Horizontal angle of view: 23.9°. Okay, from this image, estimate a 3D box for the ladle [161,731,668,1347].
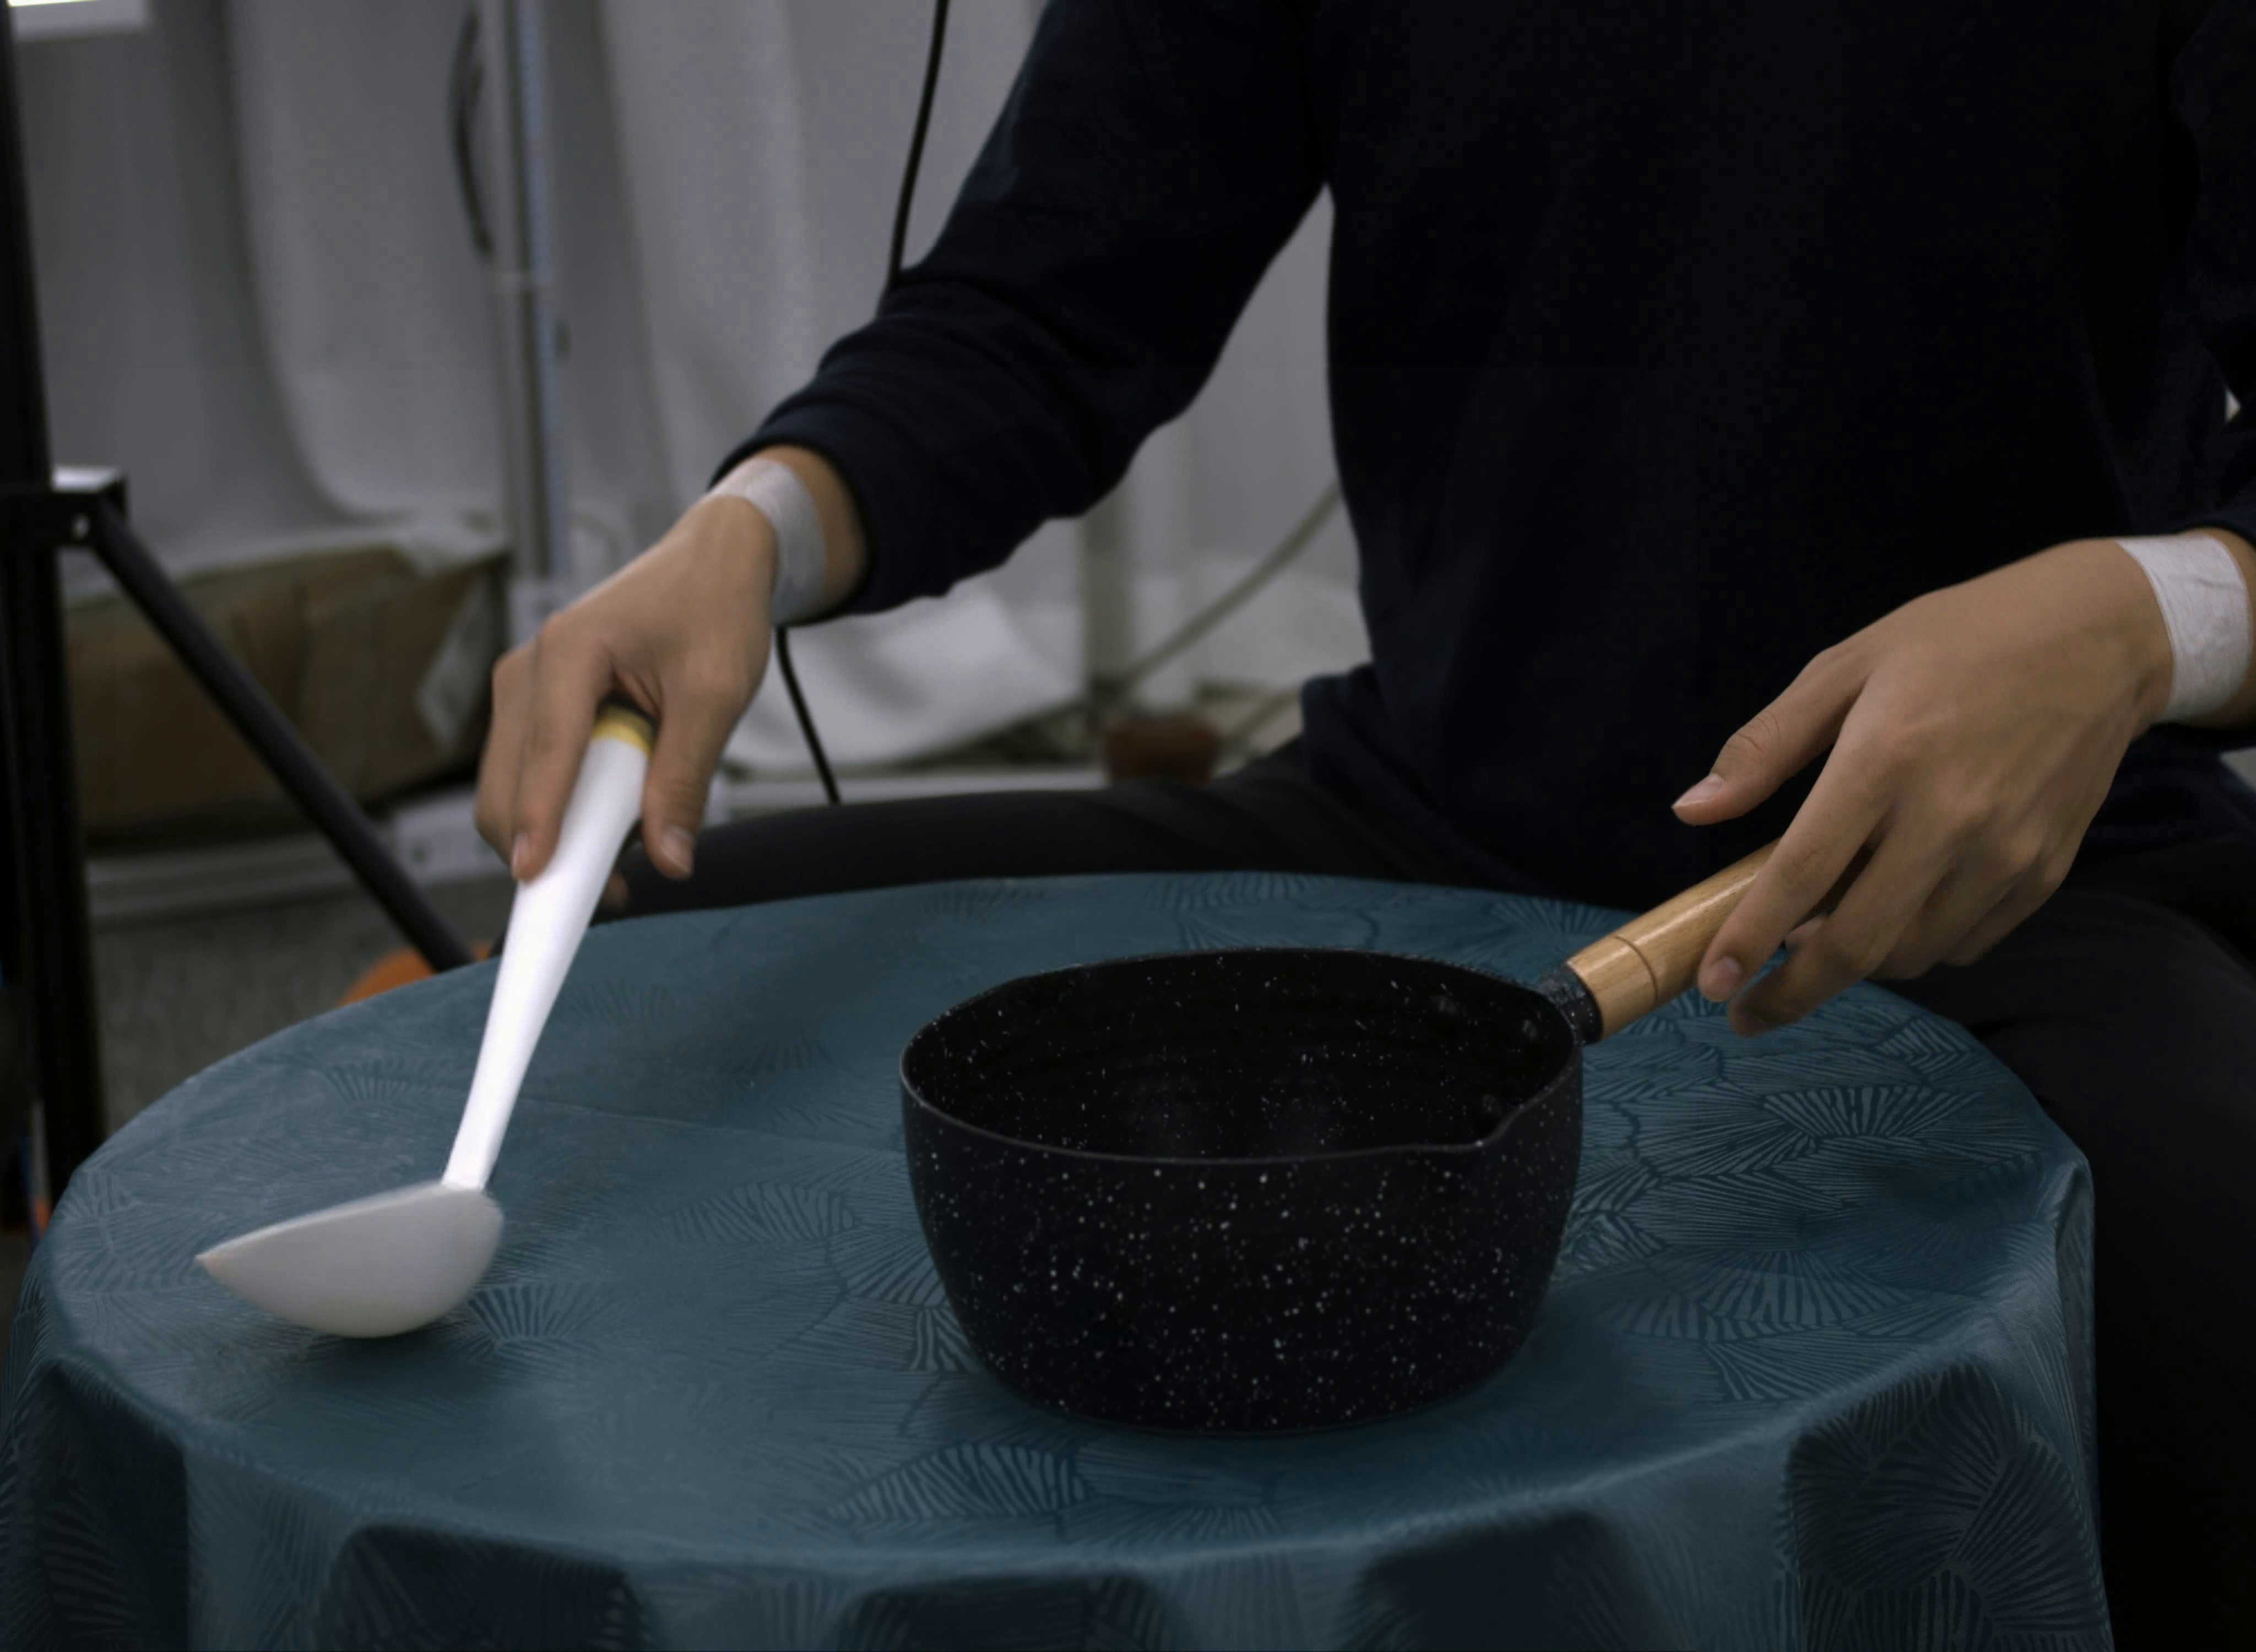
[{"bbox_3d":[-0.199,0.052,1.565,0.091,0.069,0.293,-32,22,30],"label":"ladle"}]

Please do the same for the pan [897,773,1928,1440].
[{"bbox_3d":[0.094,0.072,1.470,0.335,0.108,0.212,-16,19,-34],"label":"pan"}]
